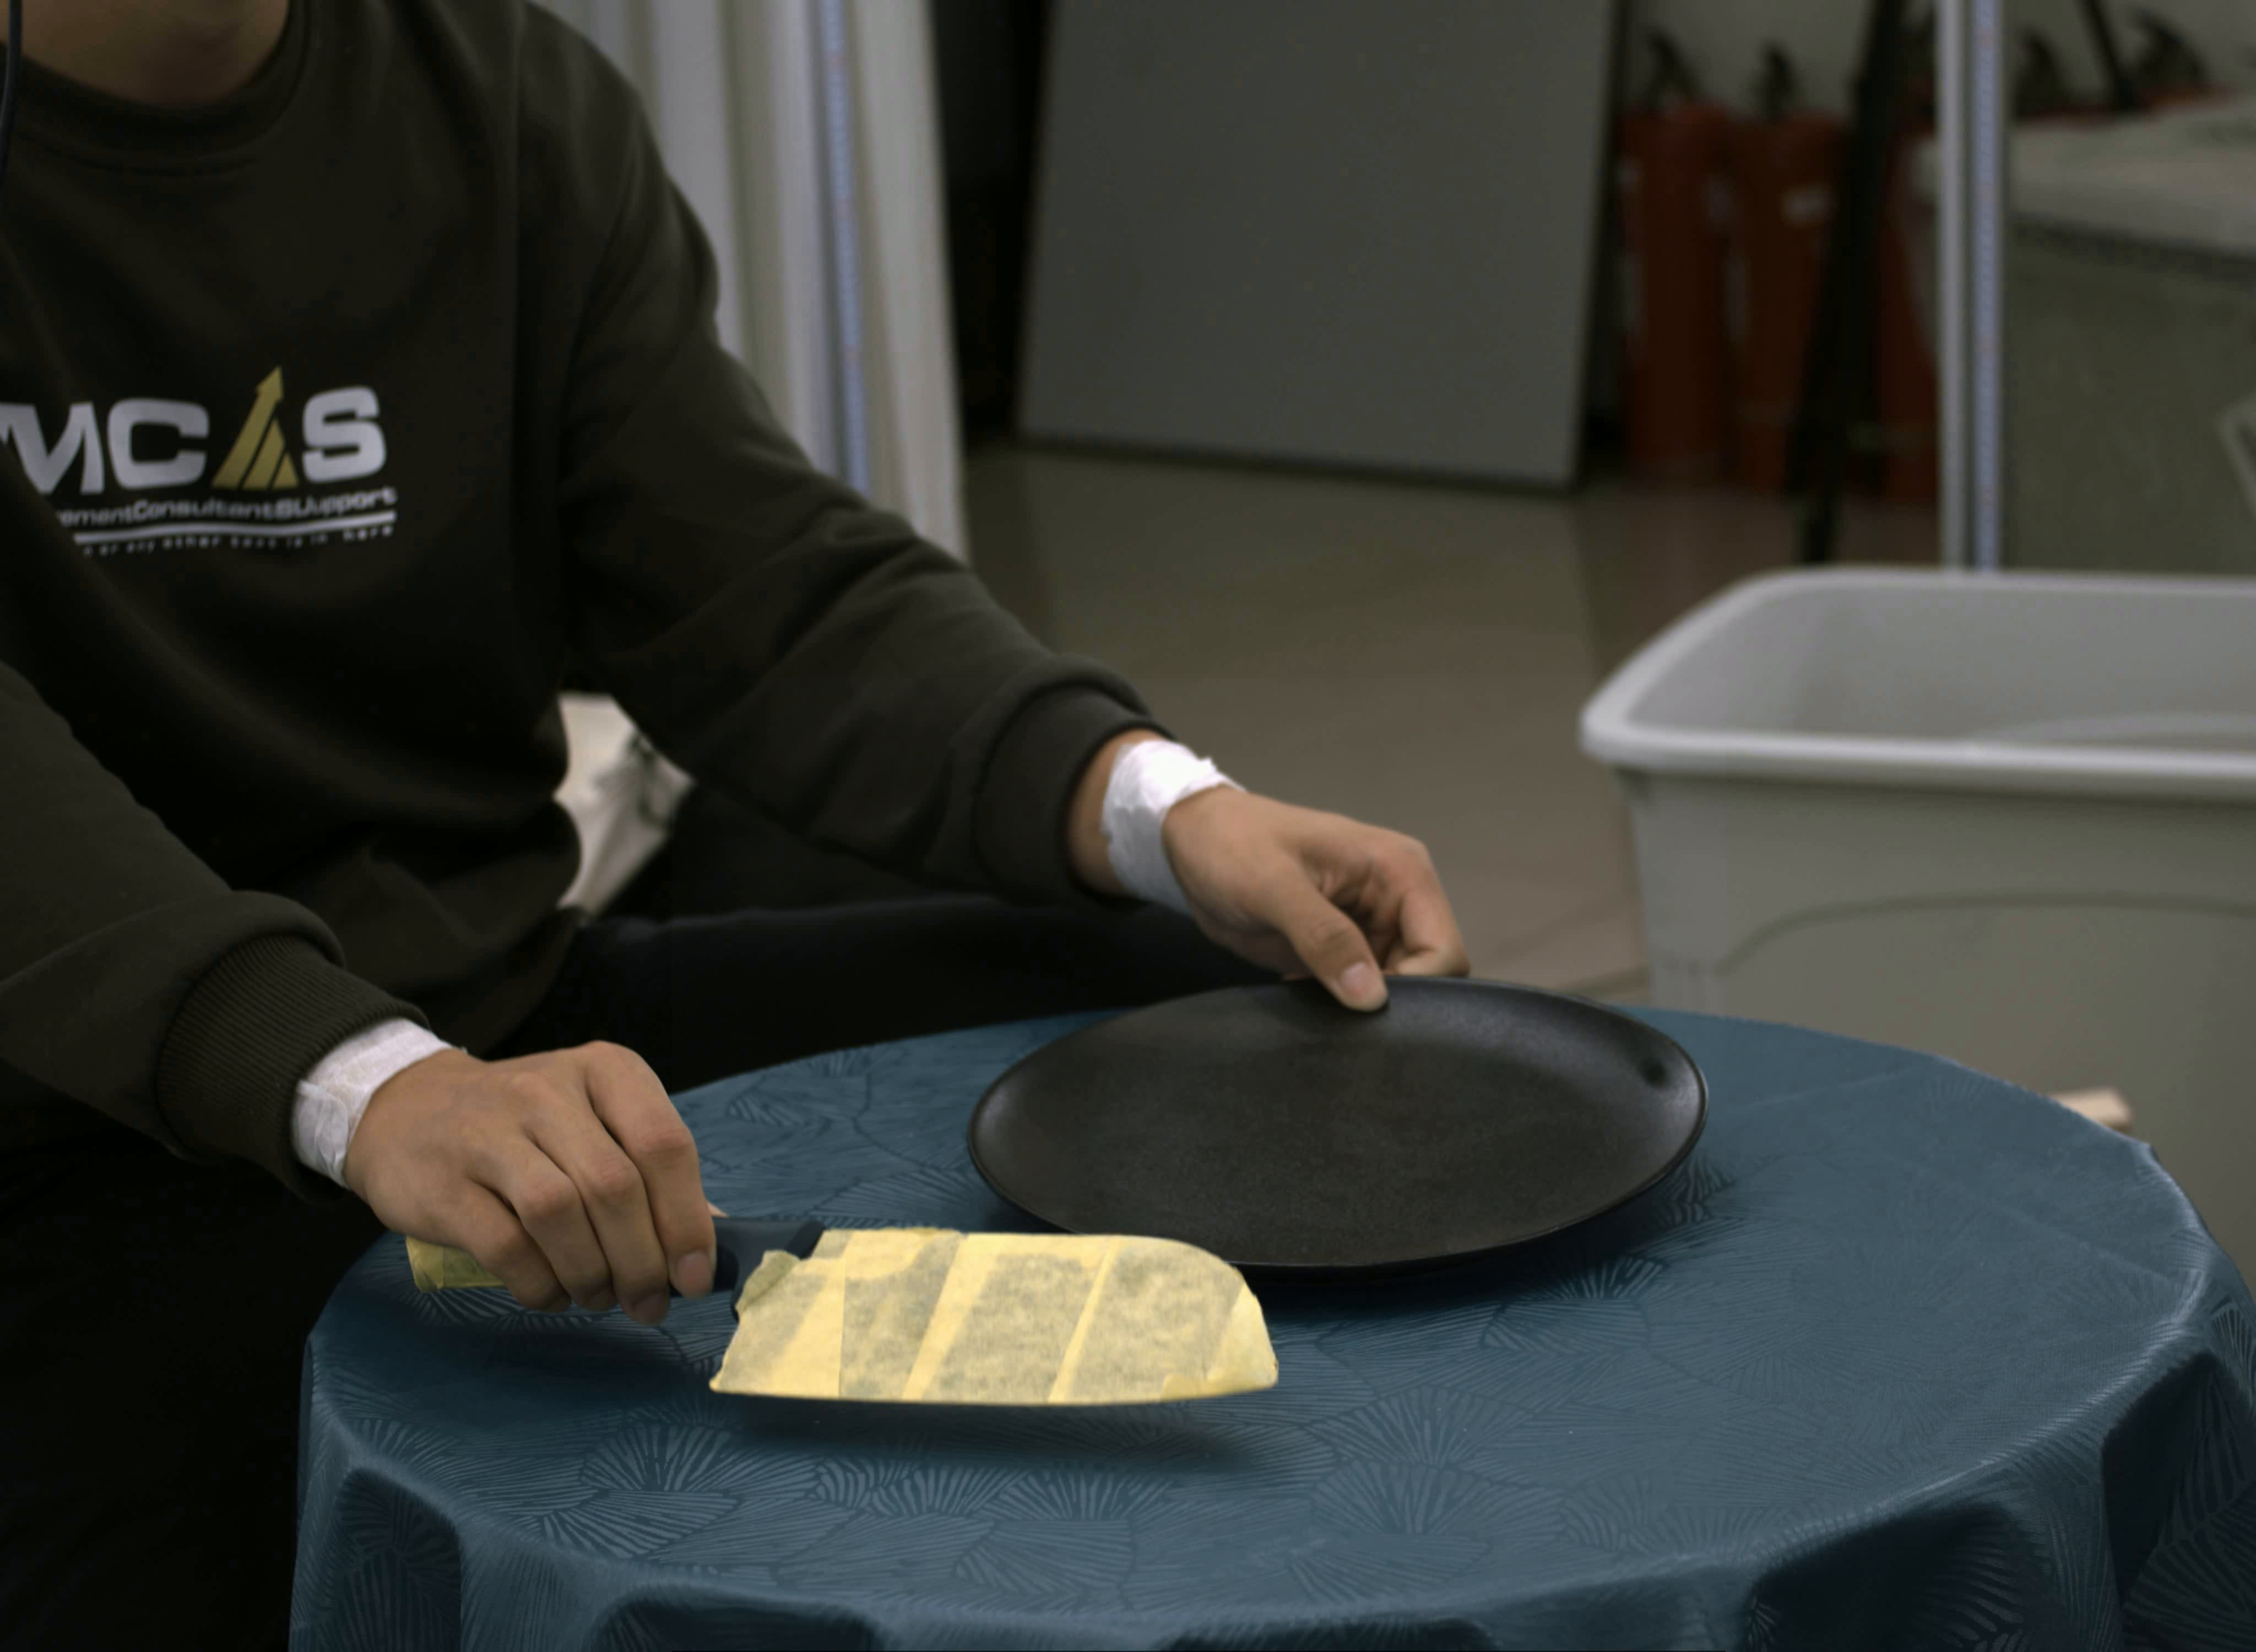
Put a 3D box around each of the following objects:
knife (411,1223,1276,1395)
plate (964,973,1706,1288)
[{"bbox_3d":[-0.089,0.141,1.587,0.290,0.027,0.081,-1,34,25],"label":"knife"},{"bbox_3d":[0.068,0.102,1.747,0.241,0.023,0.245,-4,19,1],"label":"plate"}]
